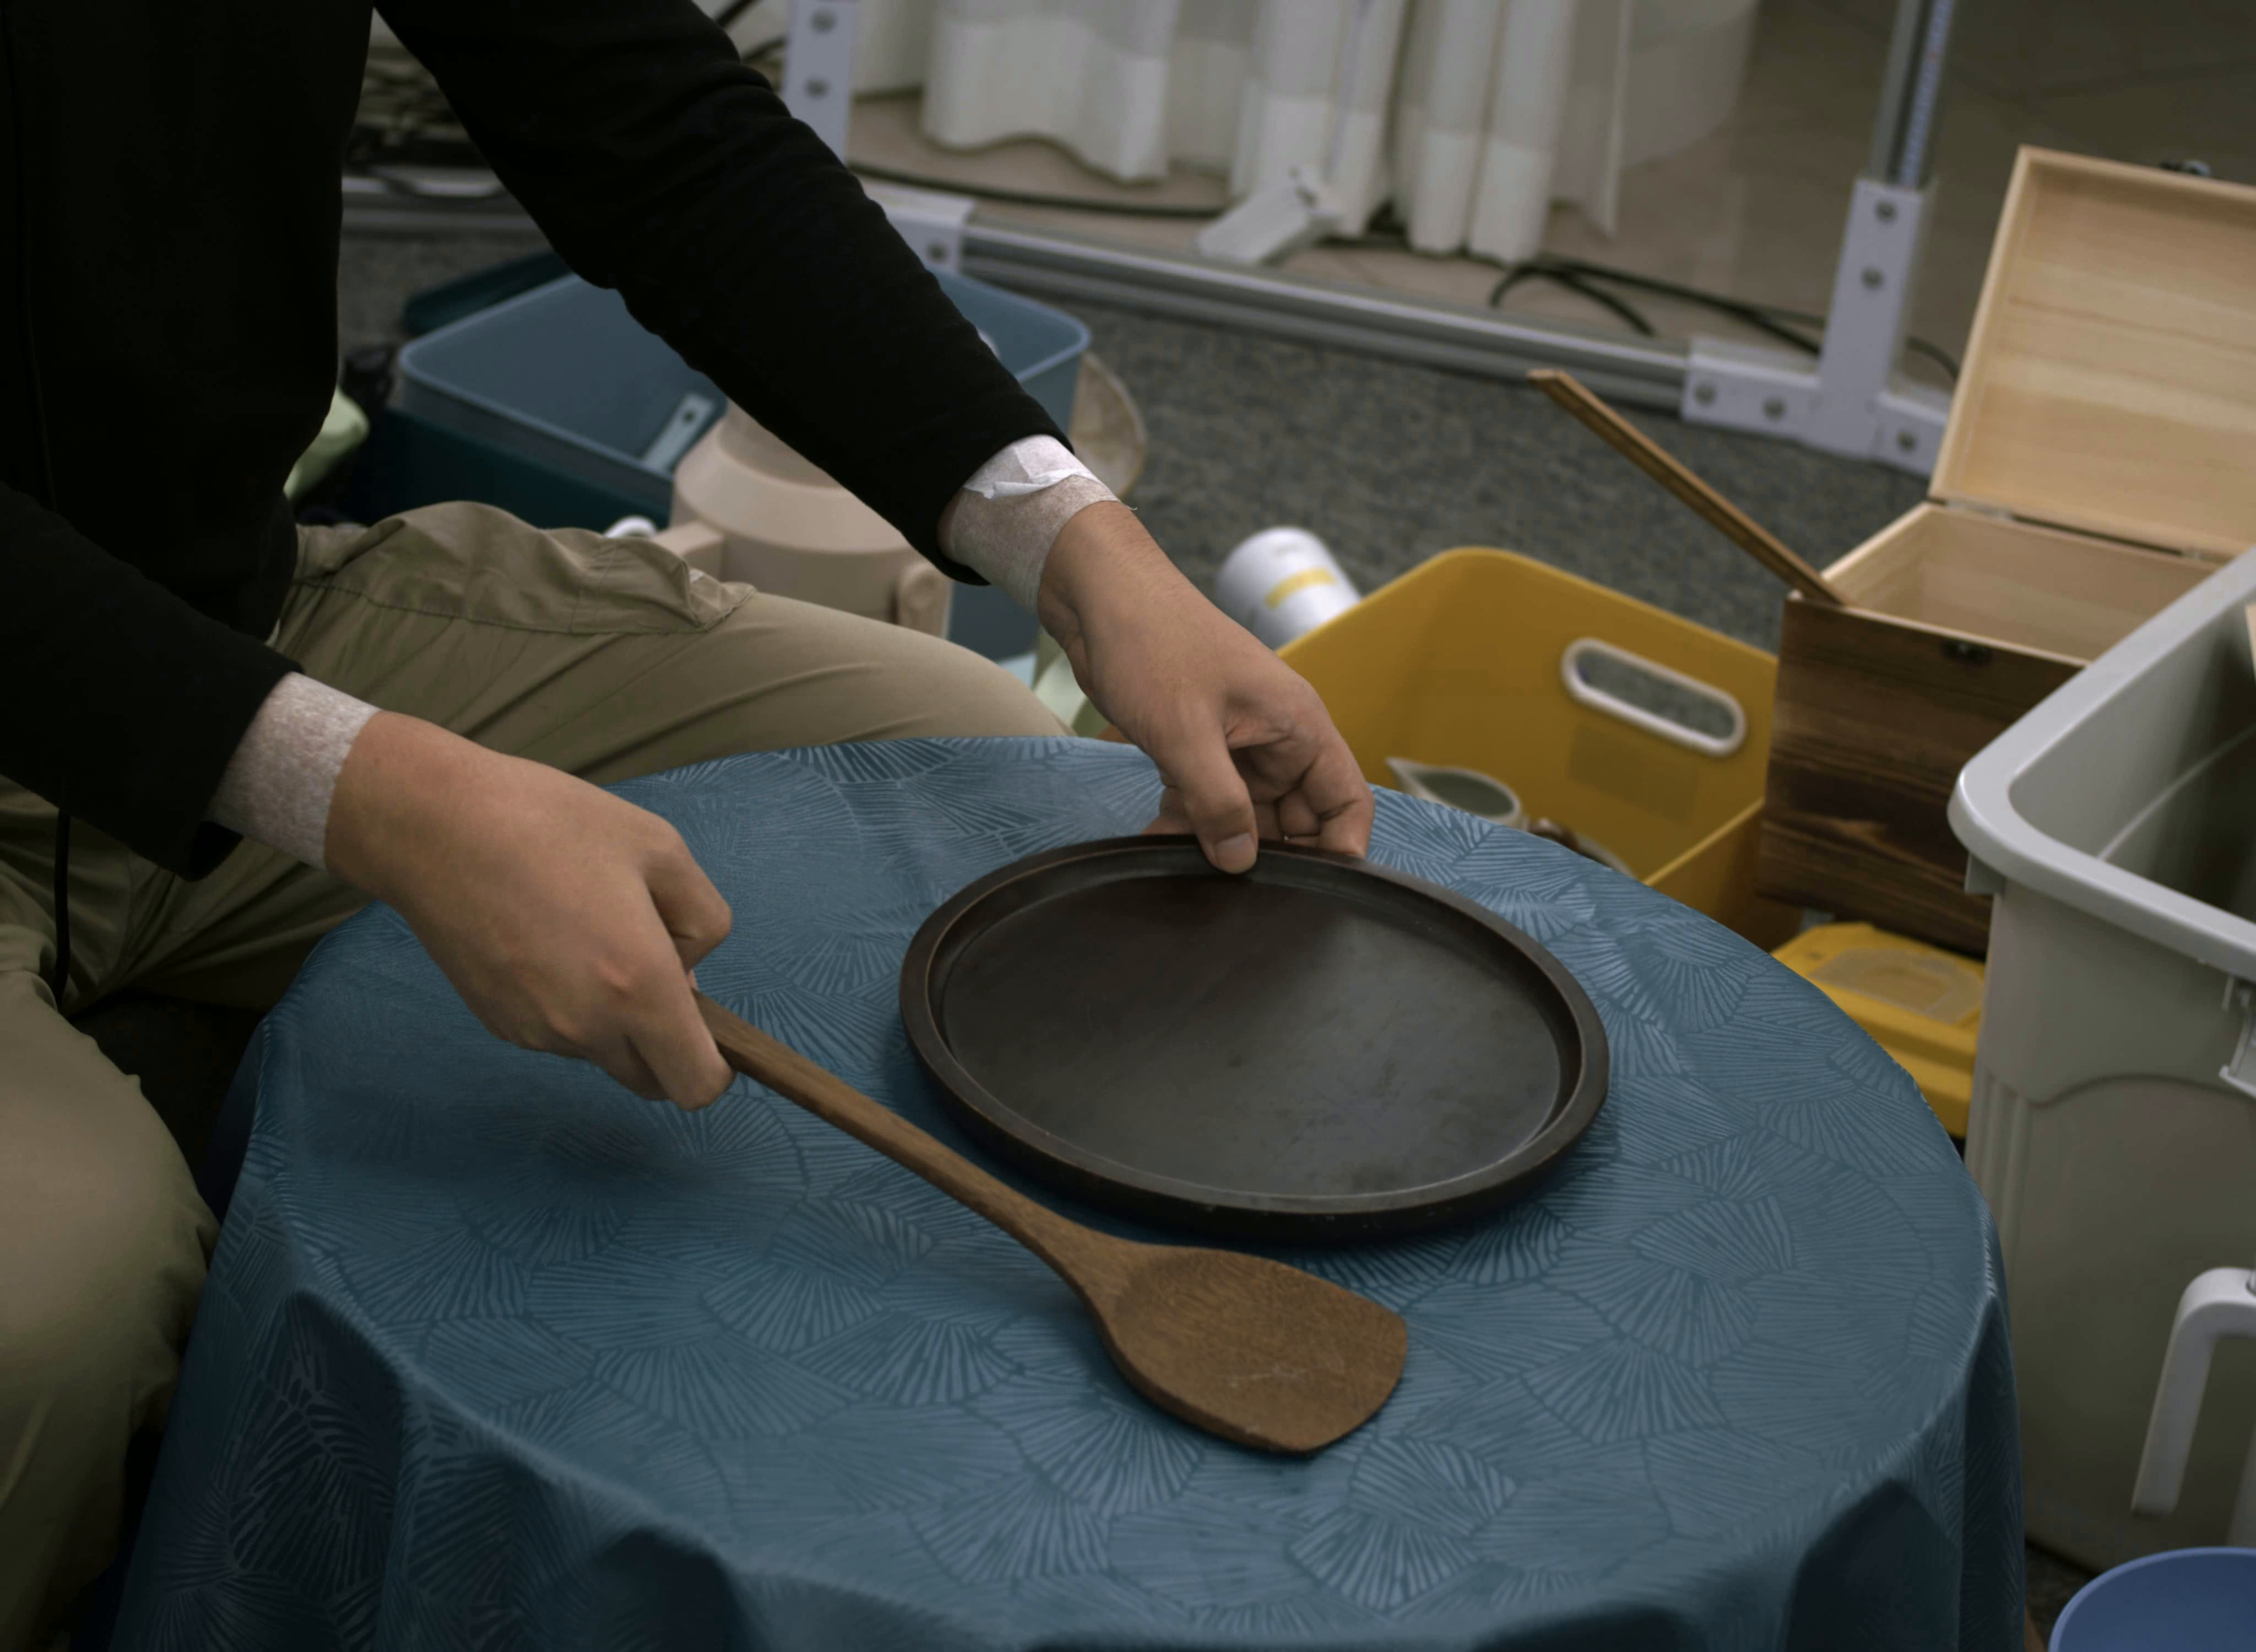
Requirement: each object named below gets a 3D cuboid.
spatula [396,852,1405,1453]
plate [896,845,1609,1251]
[{"bbox_3d":[-0.083,0.099,1.749,0.387,0.016,0.096,29,33,16],"label":"spatula"},{"bbox_3d":[0.043,0.076,1.874,0.254,0.029,0.256,6,29,-4],"label":"plate"}]
